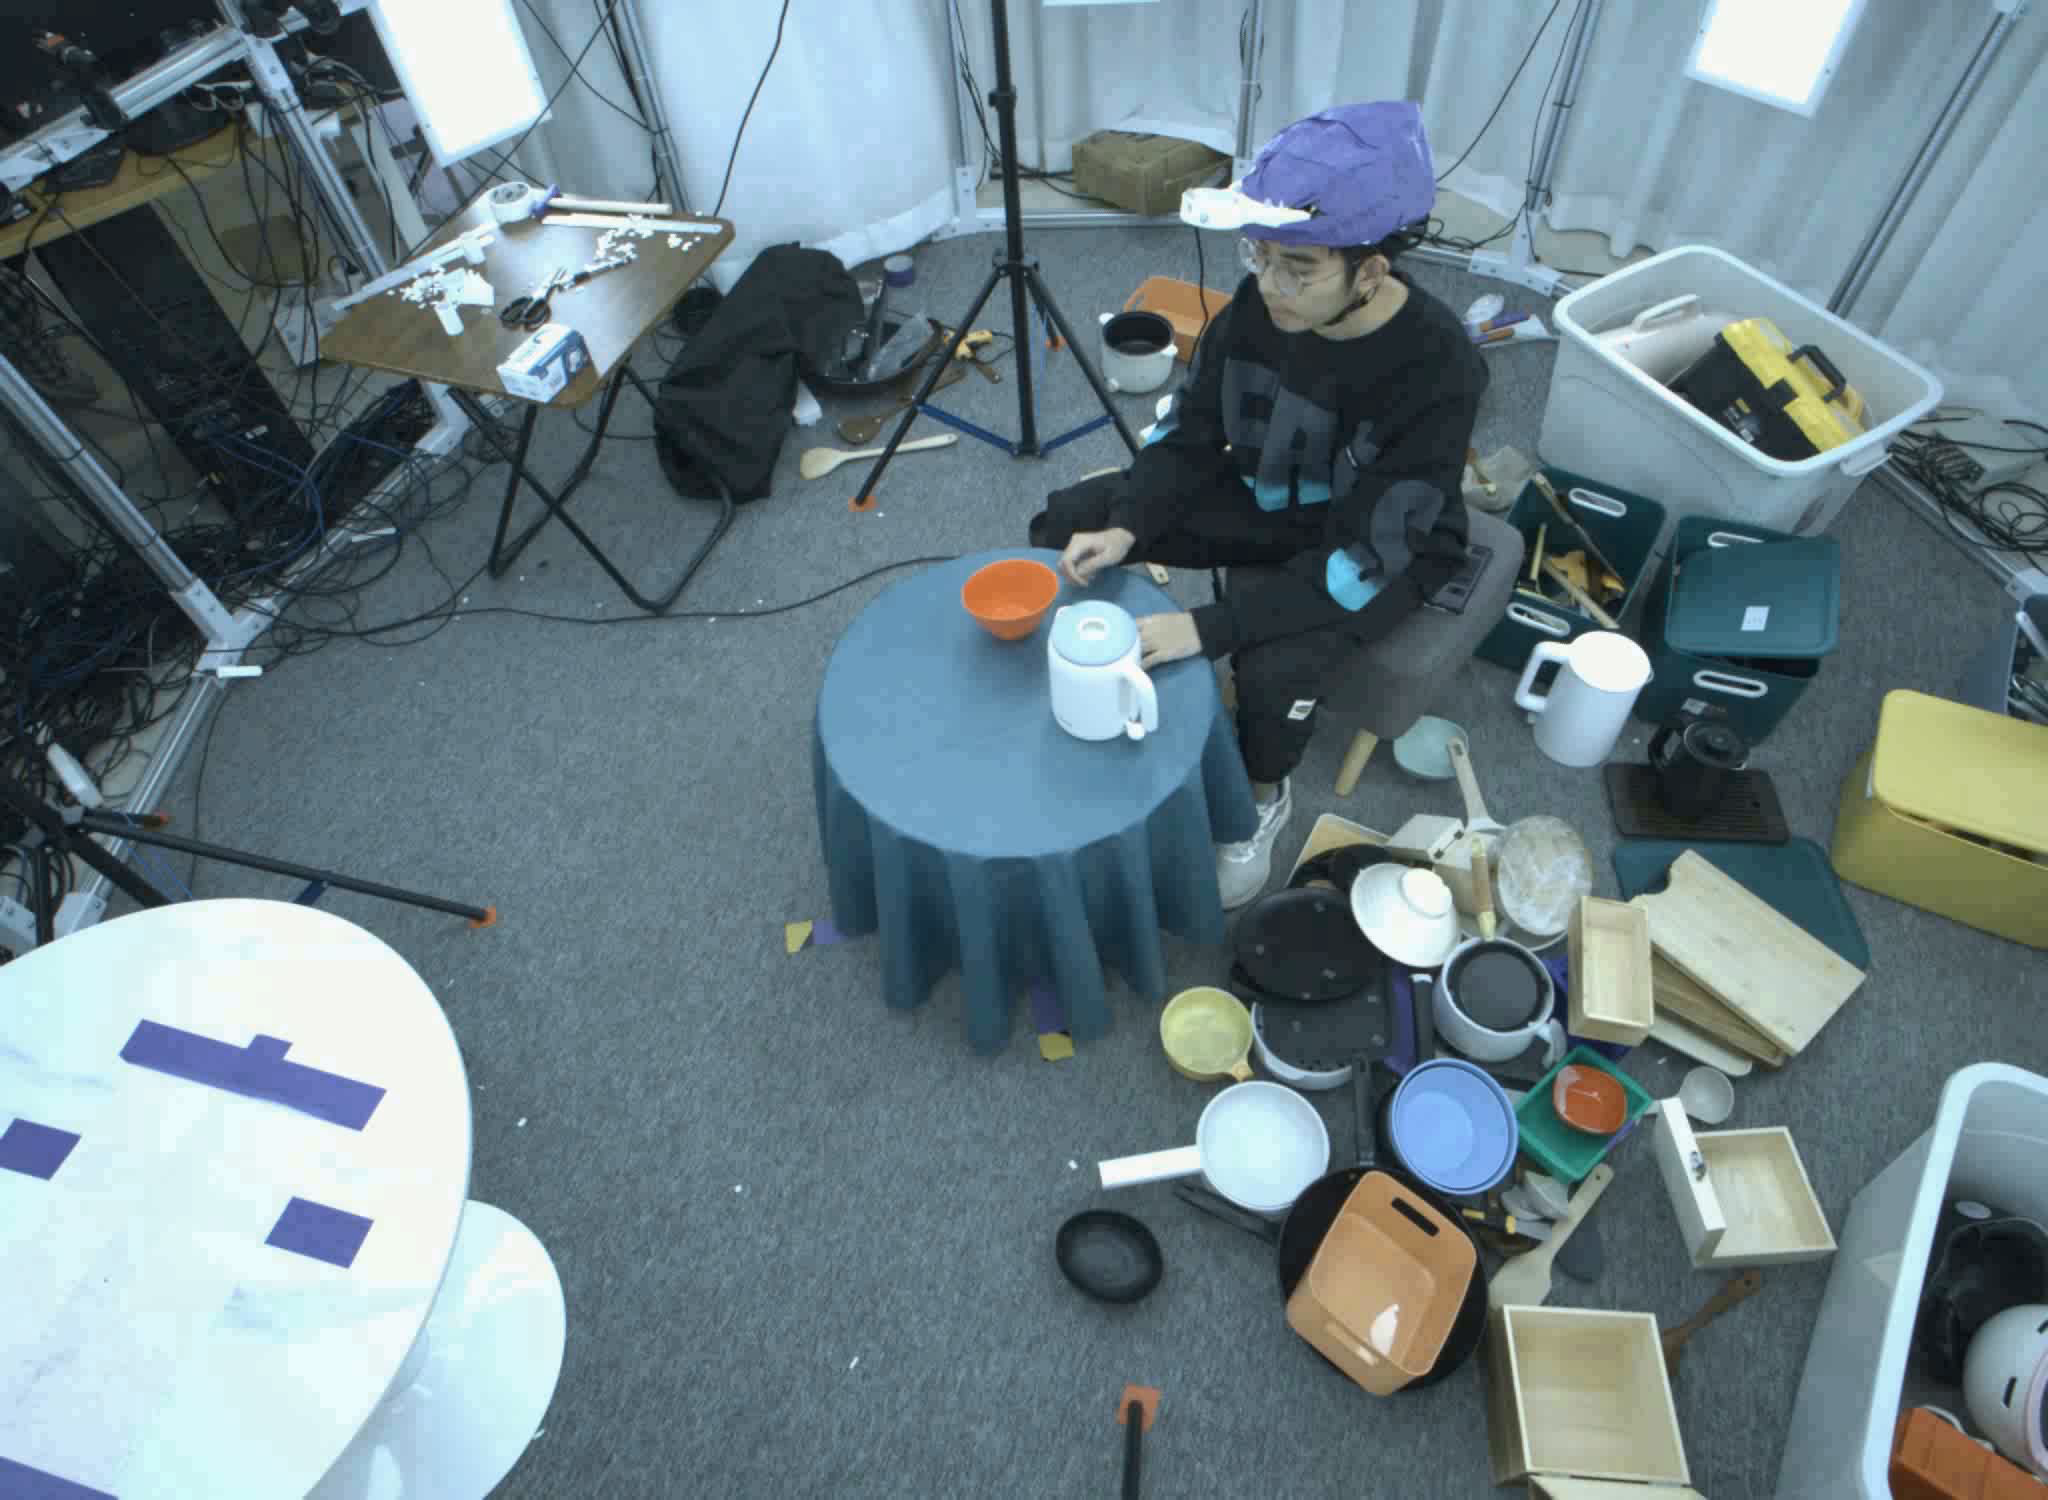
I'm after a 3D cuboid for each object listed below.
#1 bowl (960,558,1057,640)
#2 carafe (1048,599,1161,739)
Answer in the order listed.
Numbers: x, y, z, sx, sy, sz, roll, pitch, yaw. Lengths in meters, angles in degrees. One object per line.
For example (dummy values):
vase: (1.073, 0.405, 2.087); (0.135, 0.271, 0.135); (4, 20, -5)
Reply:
bowl: (-0.022, -0.218, 1.877); (0.148, 0.106, 0.146); (-1, 55, 2)
carafe: (0.119, -0.101, 1.745); (0.188, 0.184, 0.133); (39, 66, 24)
